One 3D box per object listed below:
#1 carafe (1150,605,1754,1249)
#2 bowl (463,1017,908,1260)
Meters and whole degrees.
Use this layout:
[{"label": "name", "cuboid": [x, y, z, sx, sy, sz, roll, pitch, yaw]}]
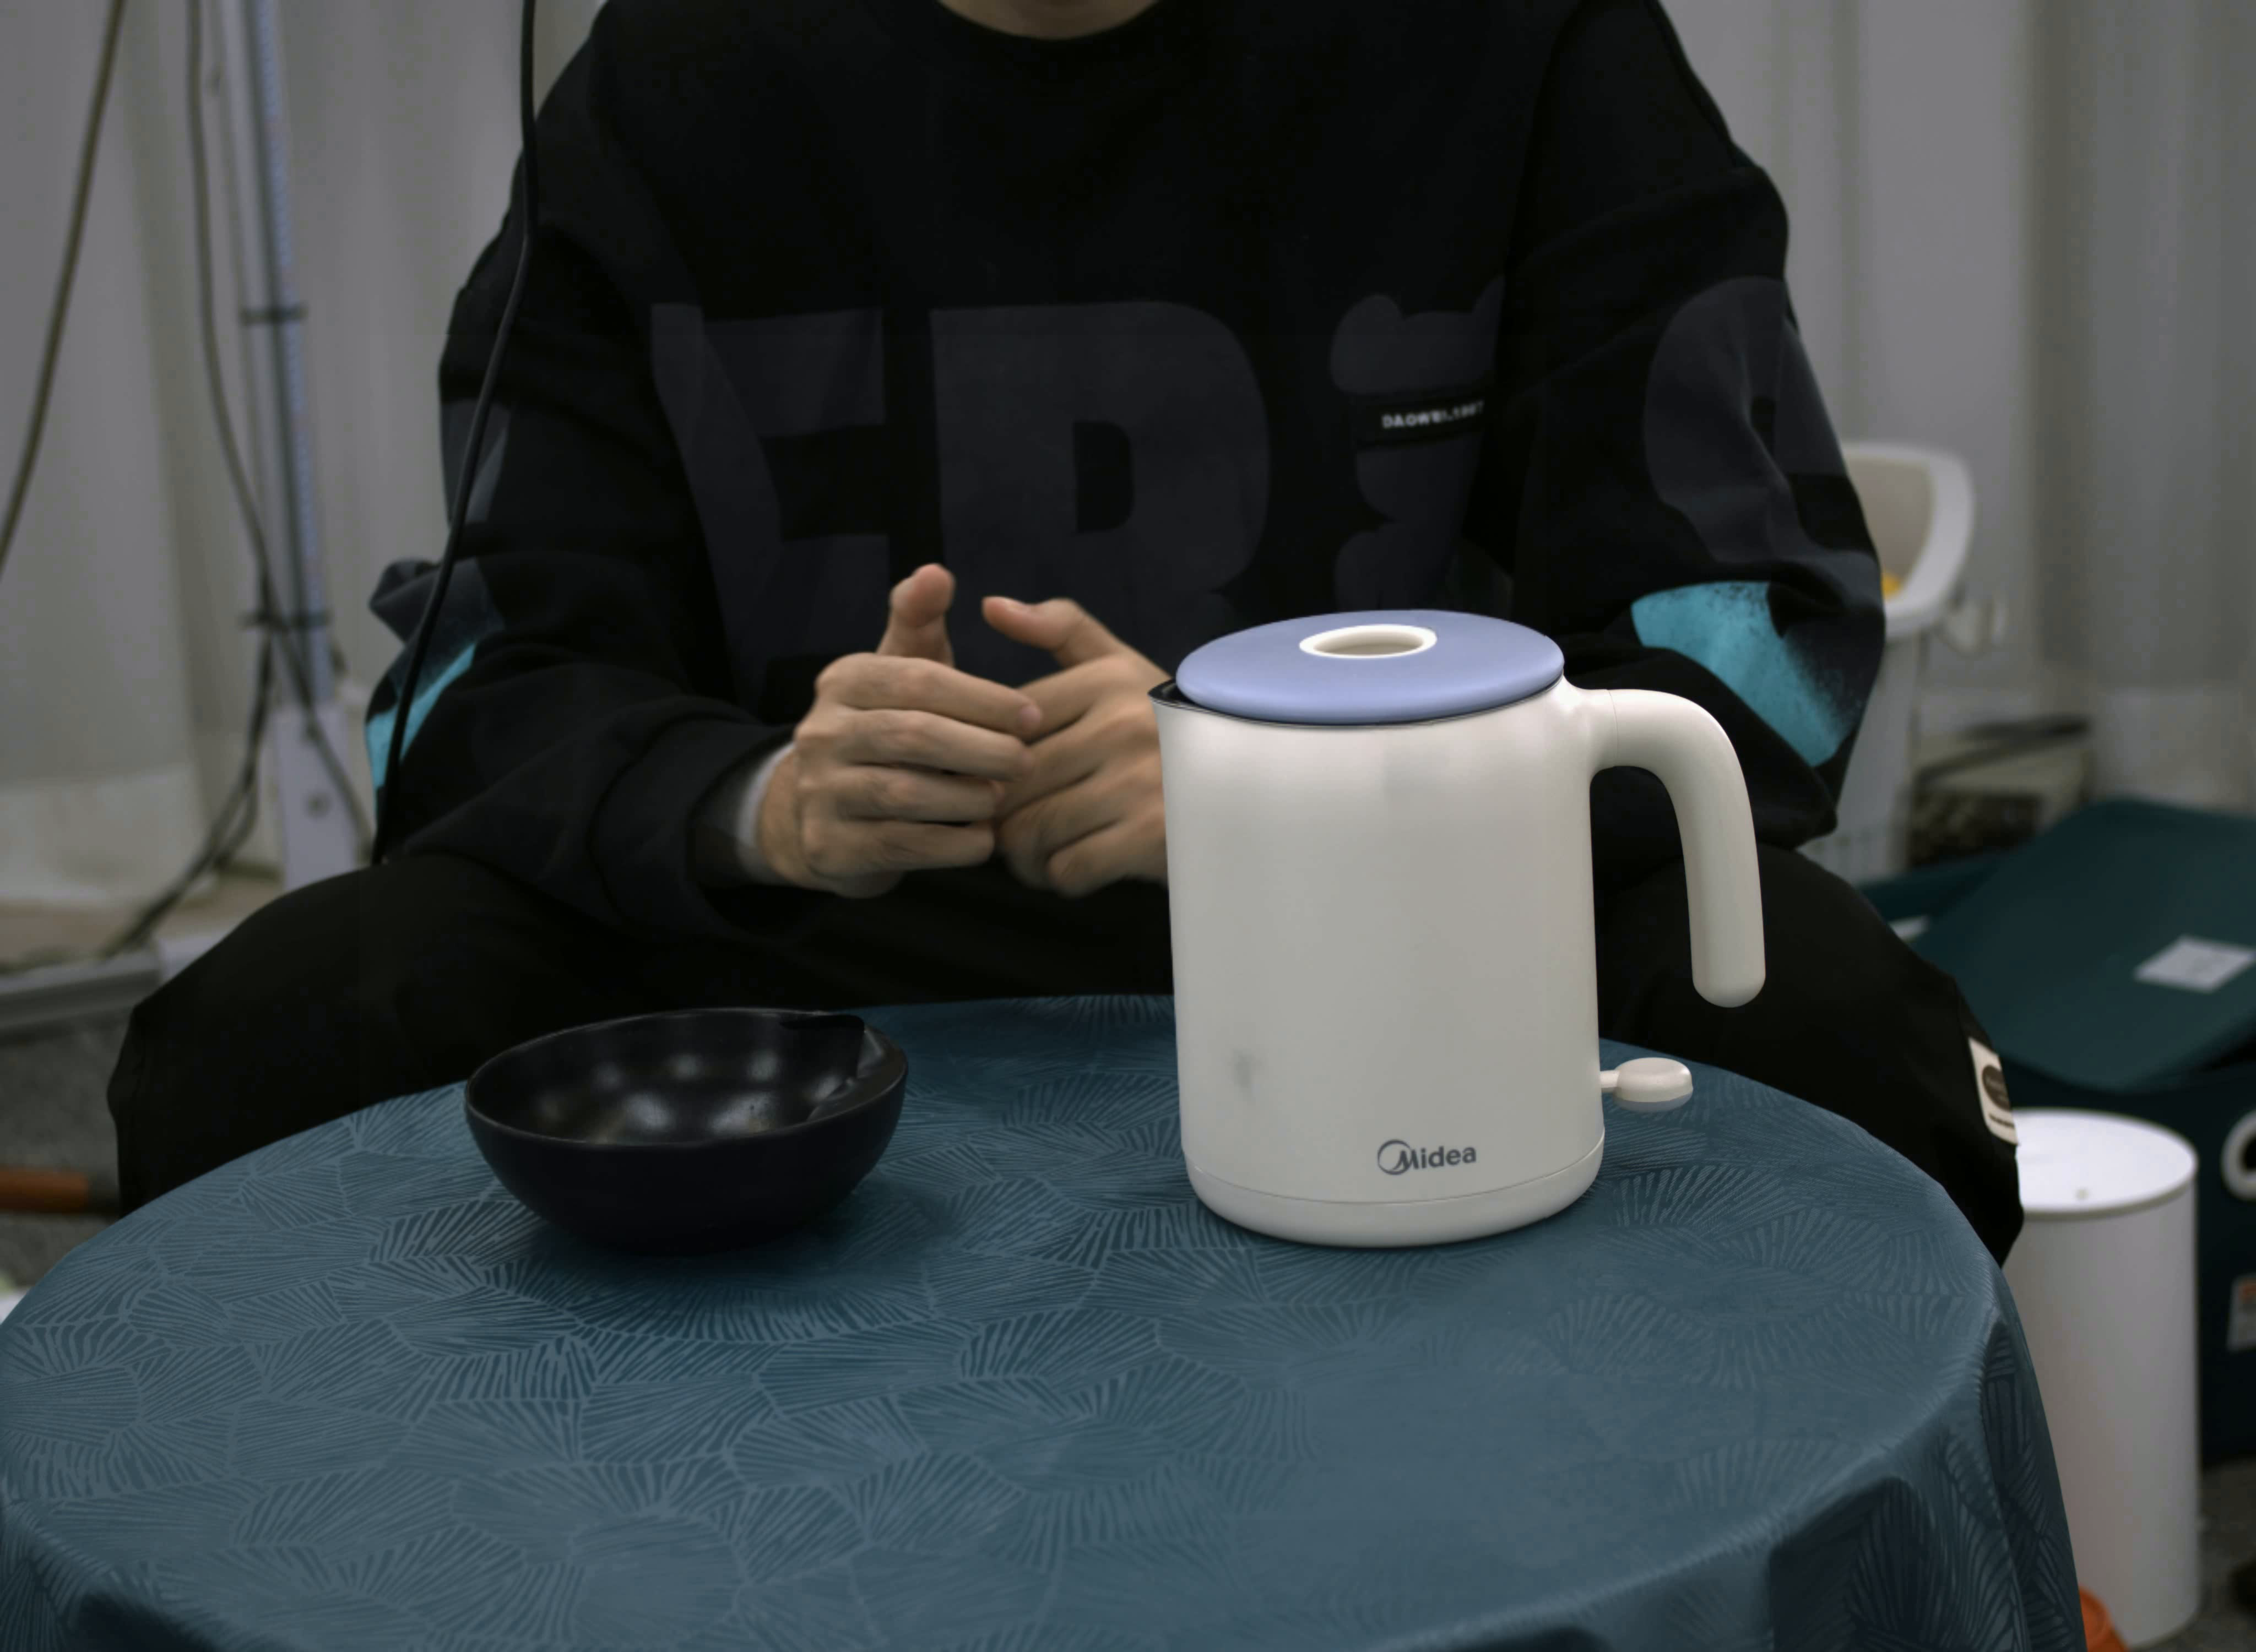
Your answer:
[{"label": "carafe", "cuboid": [0.101, 0.029, 1.688, 0.190, 0.182, 0.133, -3, 15, -8]}, {"label": "bowl", "cuboid": [-0.135, 0.101, 1.700, 0.139, 0.049, 0.141, -4, 12, 1]}]
